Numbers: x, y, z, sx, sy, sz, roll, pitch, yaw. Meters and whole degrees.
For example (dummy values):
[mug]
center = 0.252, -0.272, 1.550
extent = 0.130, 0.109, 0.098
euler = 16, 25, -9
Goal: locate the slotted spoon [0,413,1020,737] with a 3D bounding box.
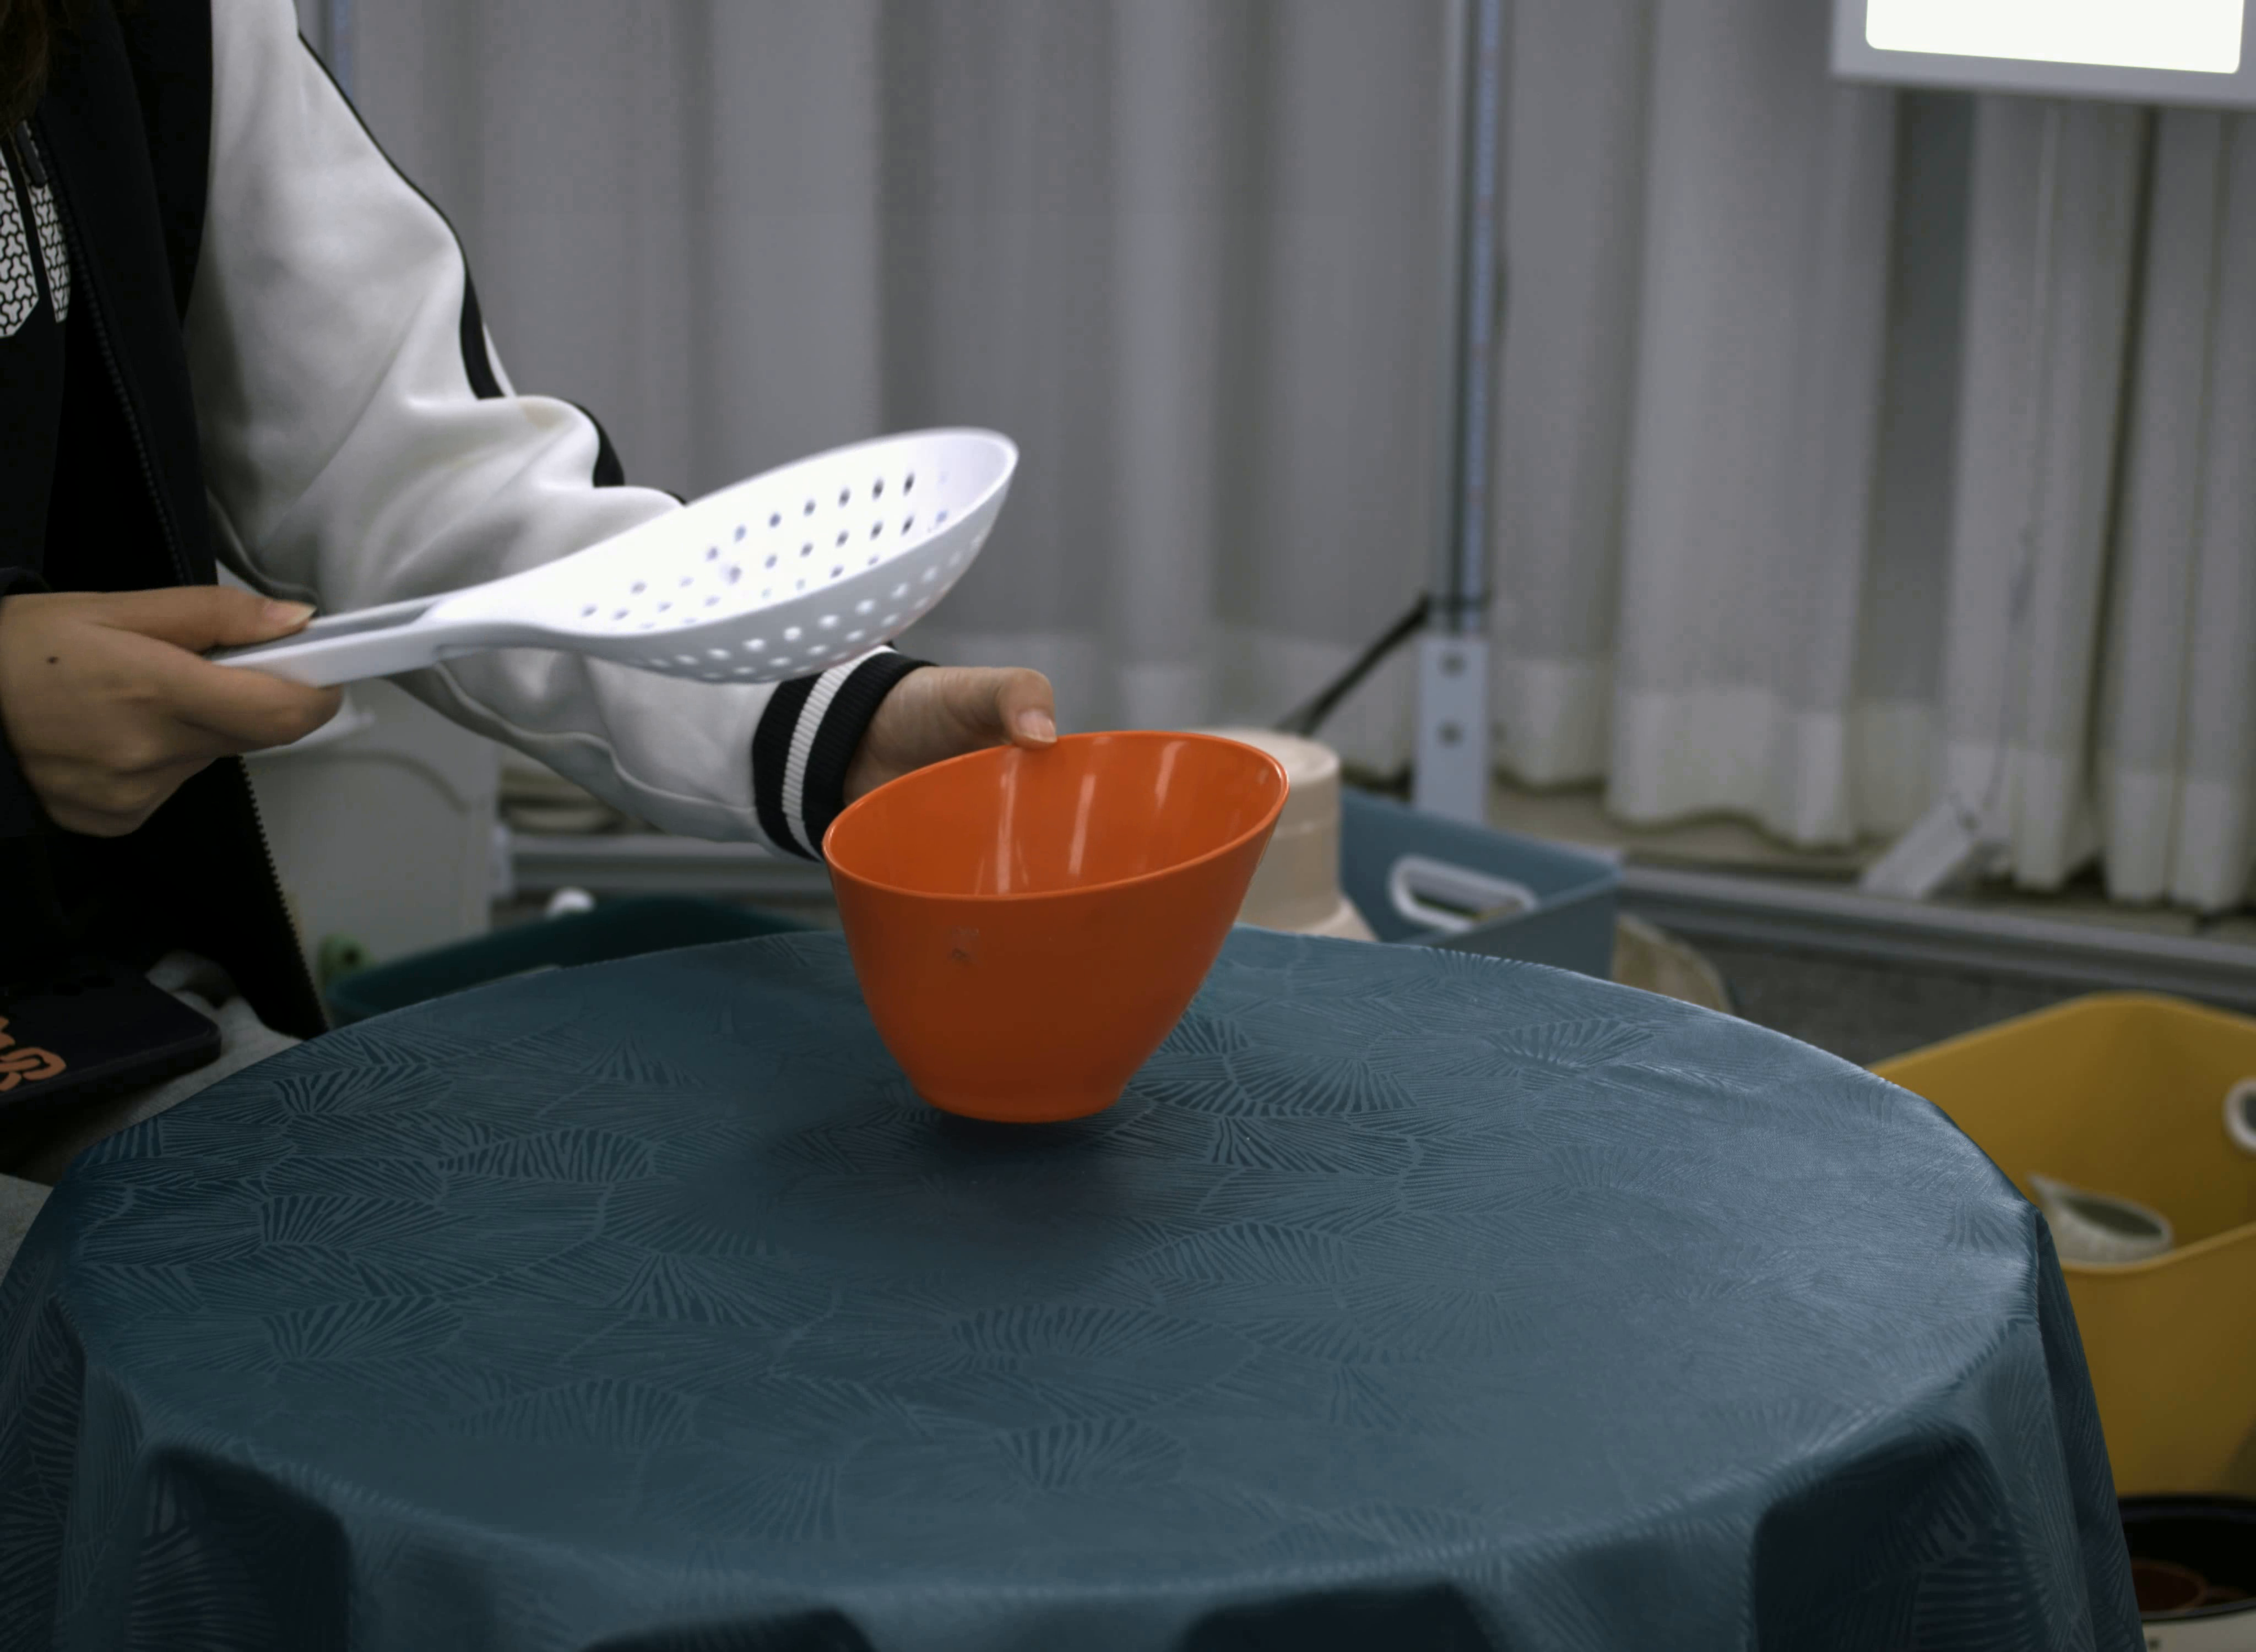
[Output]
[slotted spoon]
center = -0.188, -0.064, 1.532
extent = 0.346, 0.046, 0.135
euler = -5, 26, 23

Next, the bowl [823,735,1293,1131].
[bowl]
center = -0.023, 0.036, 1.666
extent = 0.147, 0.105, 0.147
euler = 2, 18, 0
